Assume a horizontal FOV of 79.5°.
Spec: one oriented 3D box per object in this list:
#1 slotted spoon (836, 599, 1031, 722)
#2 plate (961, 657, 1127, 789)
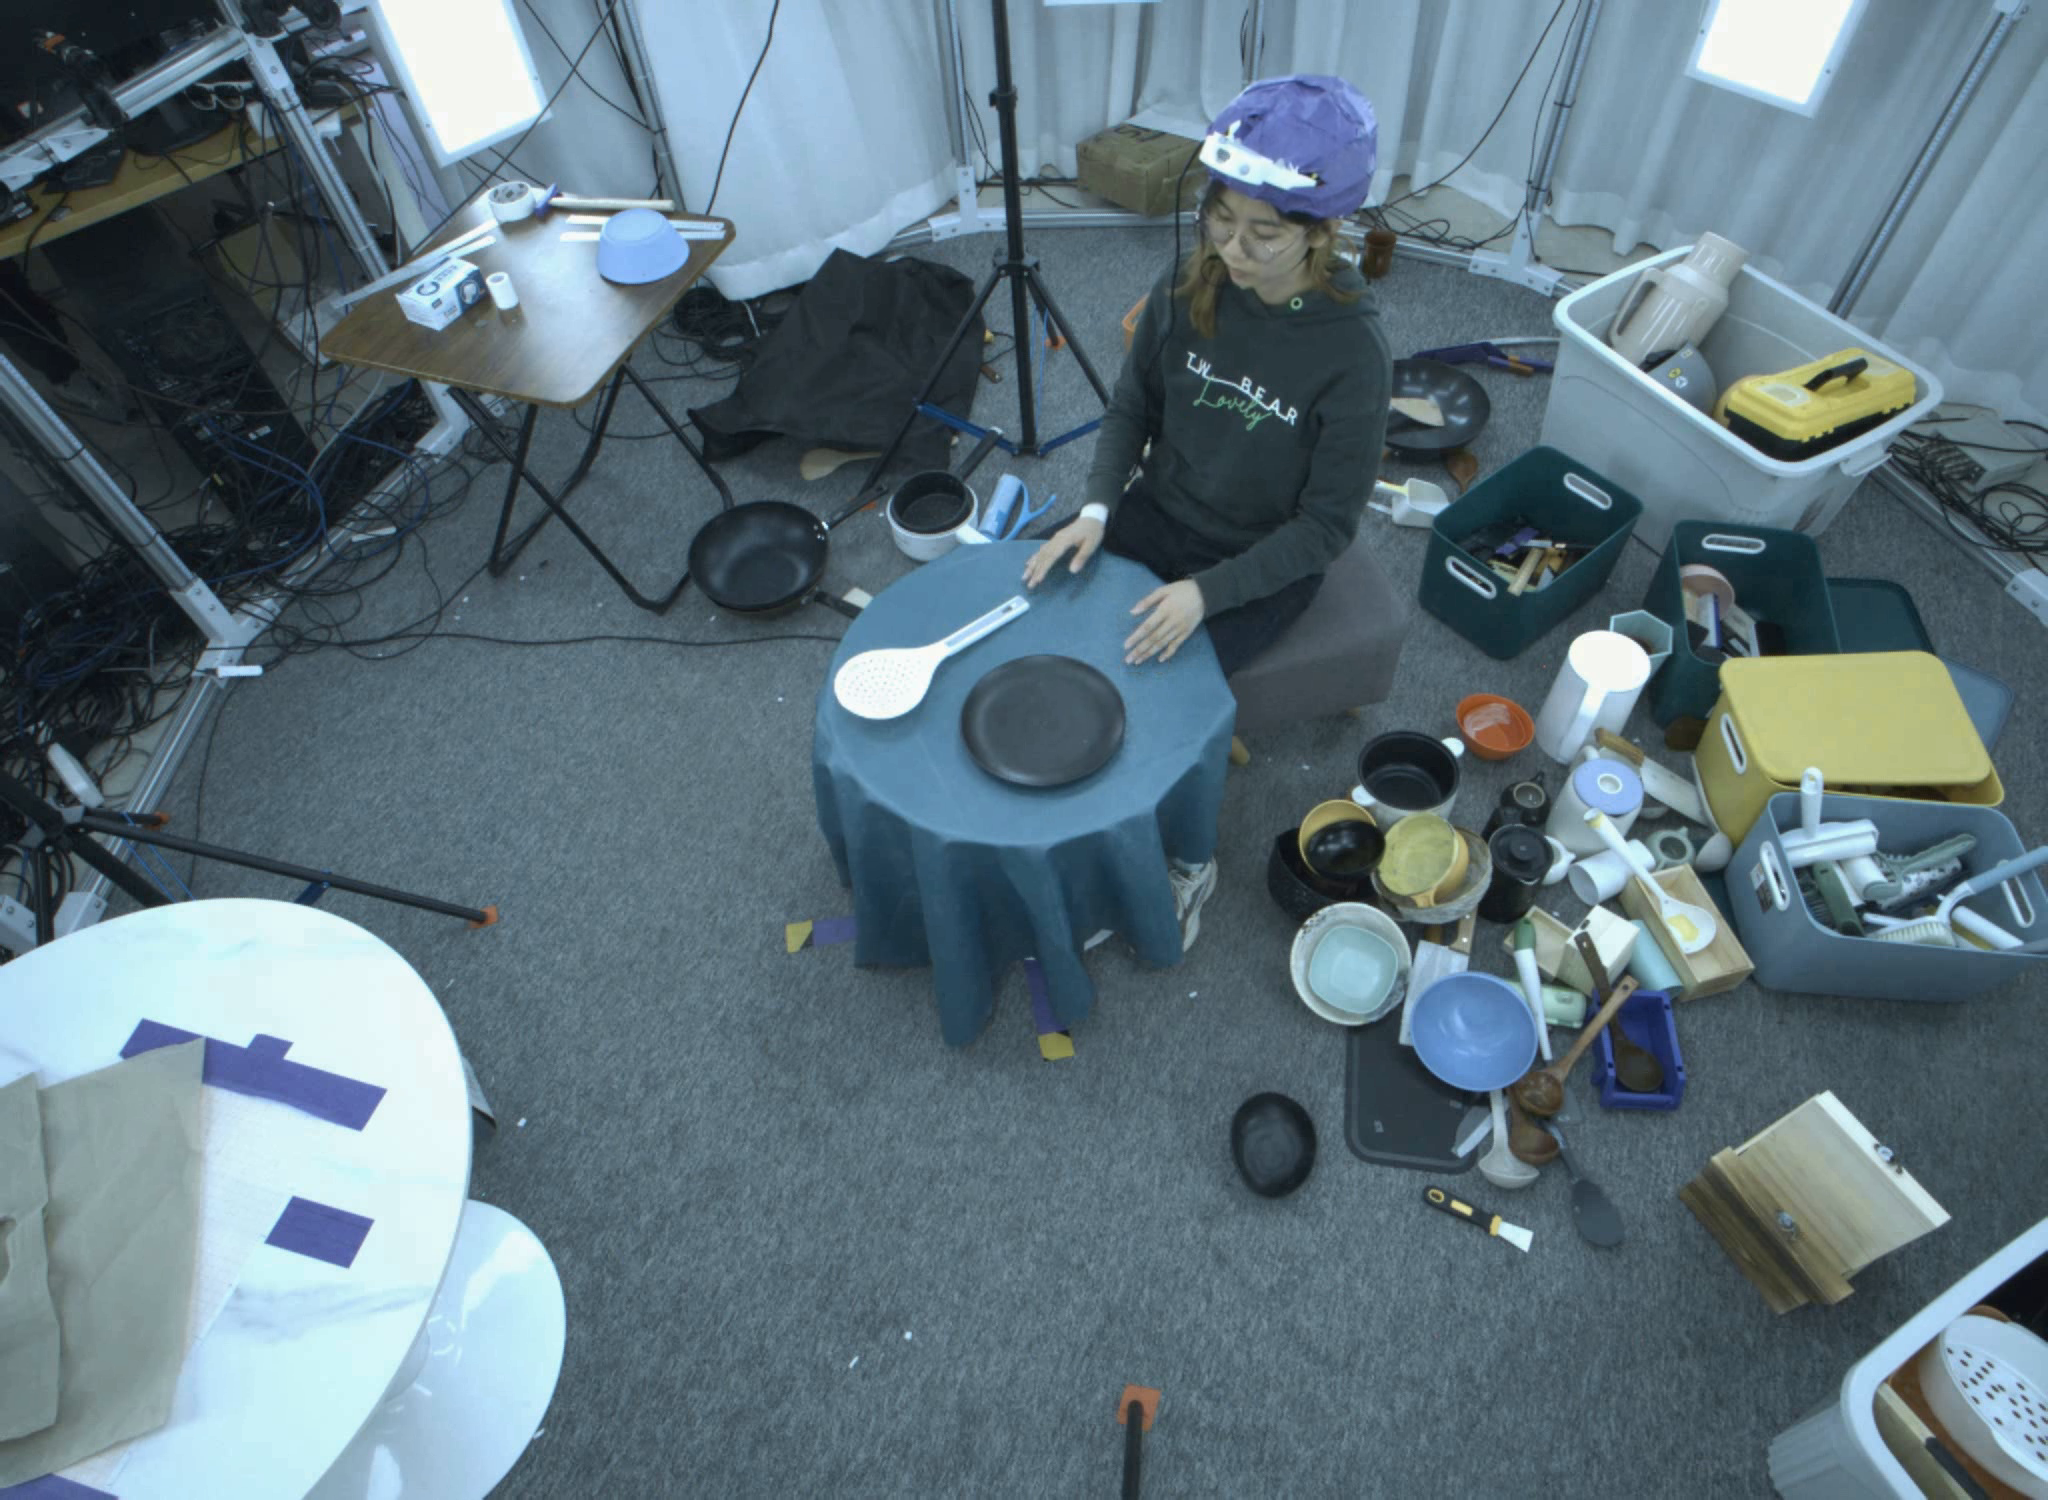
[{"bbox_3d":[-0.130,-0.145,1.875,0.352,0.046,0.133,-36,63,-22],"label":"slotted spoon"},{"bbox_3d":[0.030,-0.038,1.809,0.244,0.024,0.242,0,55,2],"label":"plate"}]
